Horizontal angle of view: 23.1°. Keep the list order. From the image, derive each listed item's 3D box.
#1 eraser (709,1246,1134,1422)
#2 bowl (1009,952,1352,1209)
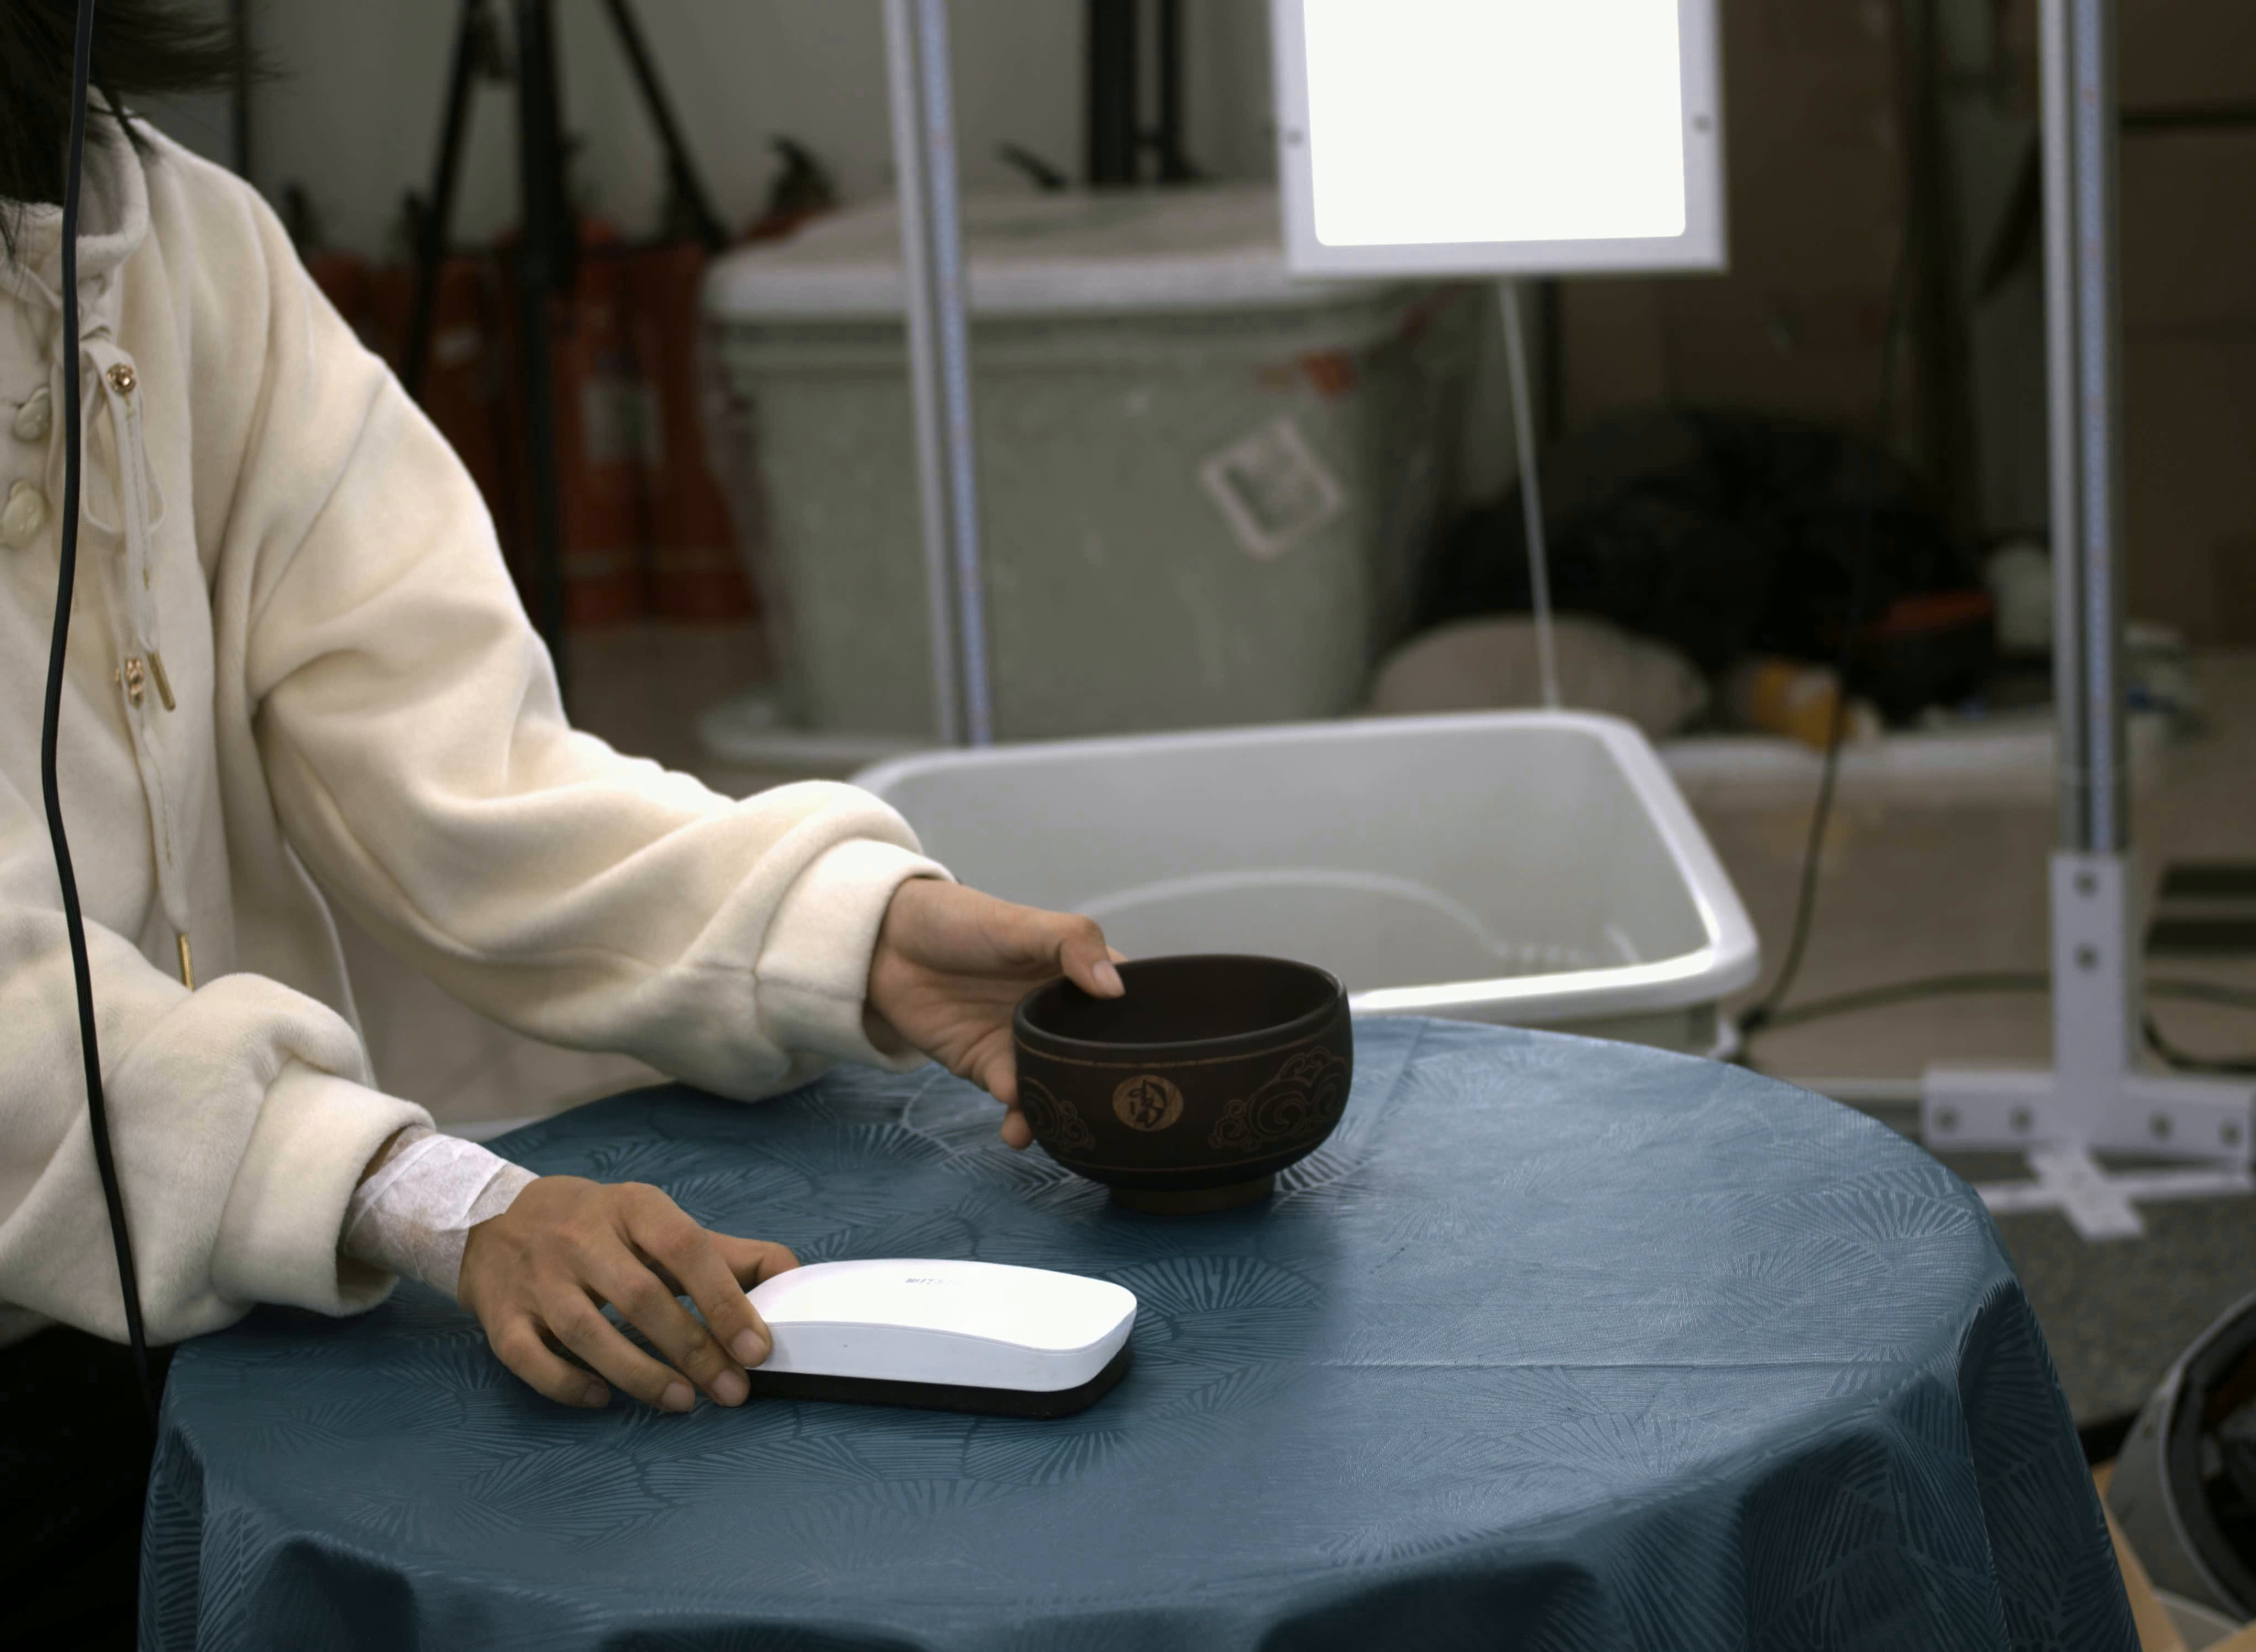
[{"bbox_3d":[-0.064,0.159,1.727,0.133,0.034,0.062,2,15,27],"label":"eraser"},{"bbox_3d":[0.019,0.090,1.887,0.118,0.070,0.118,-5,12,0],"label":"bowl"}]
